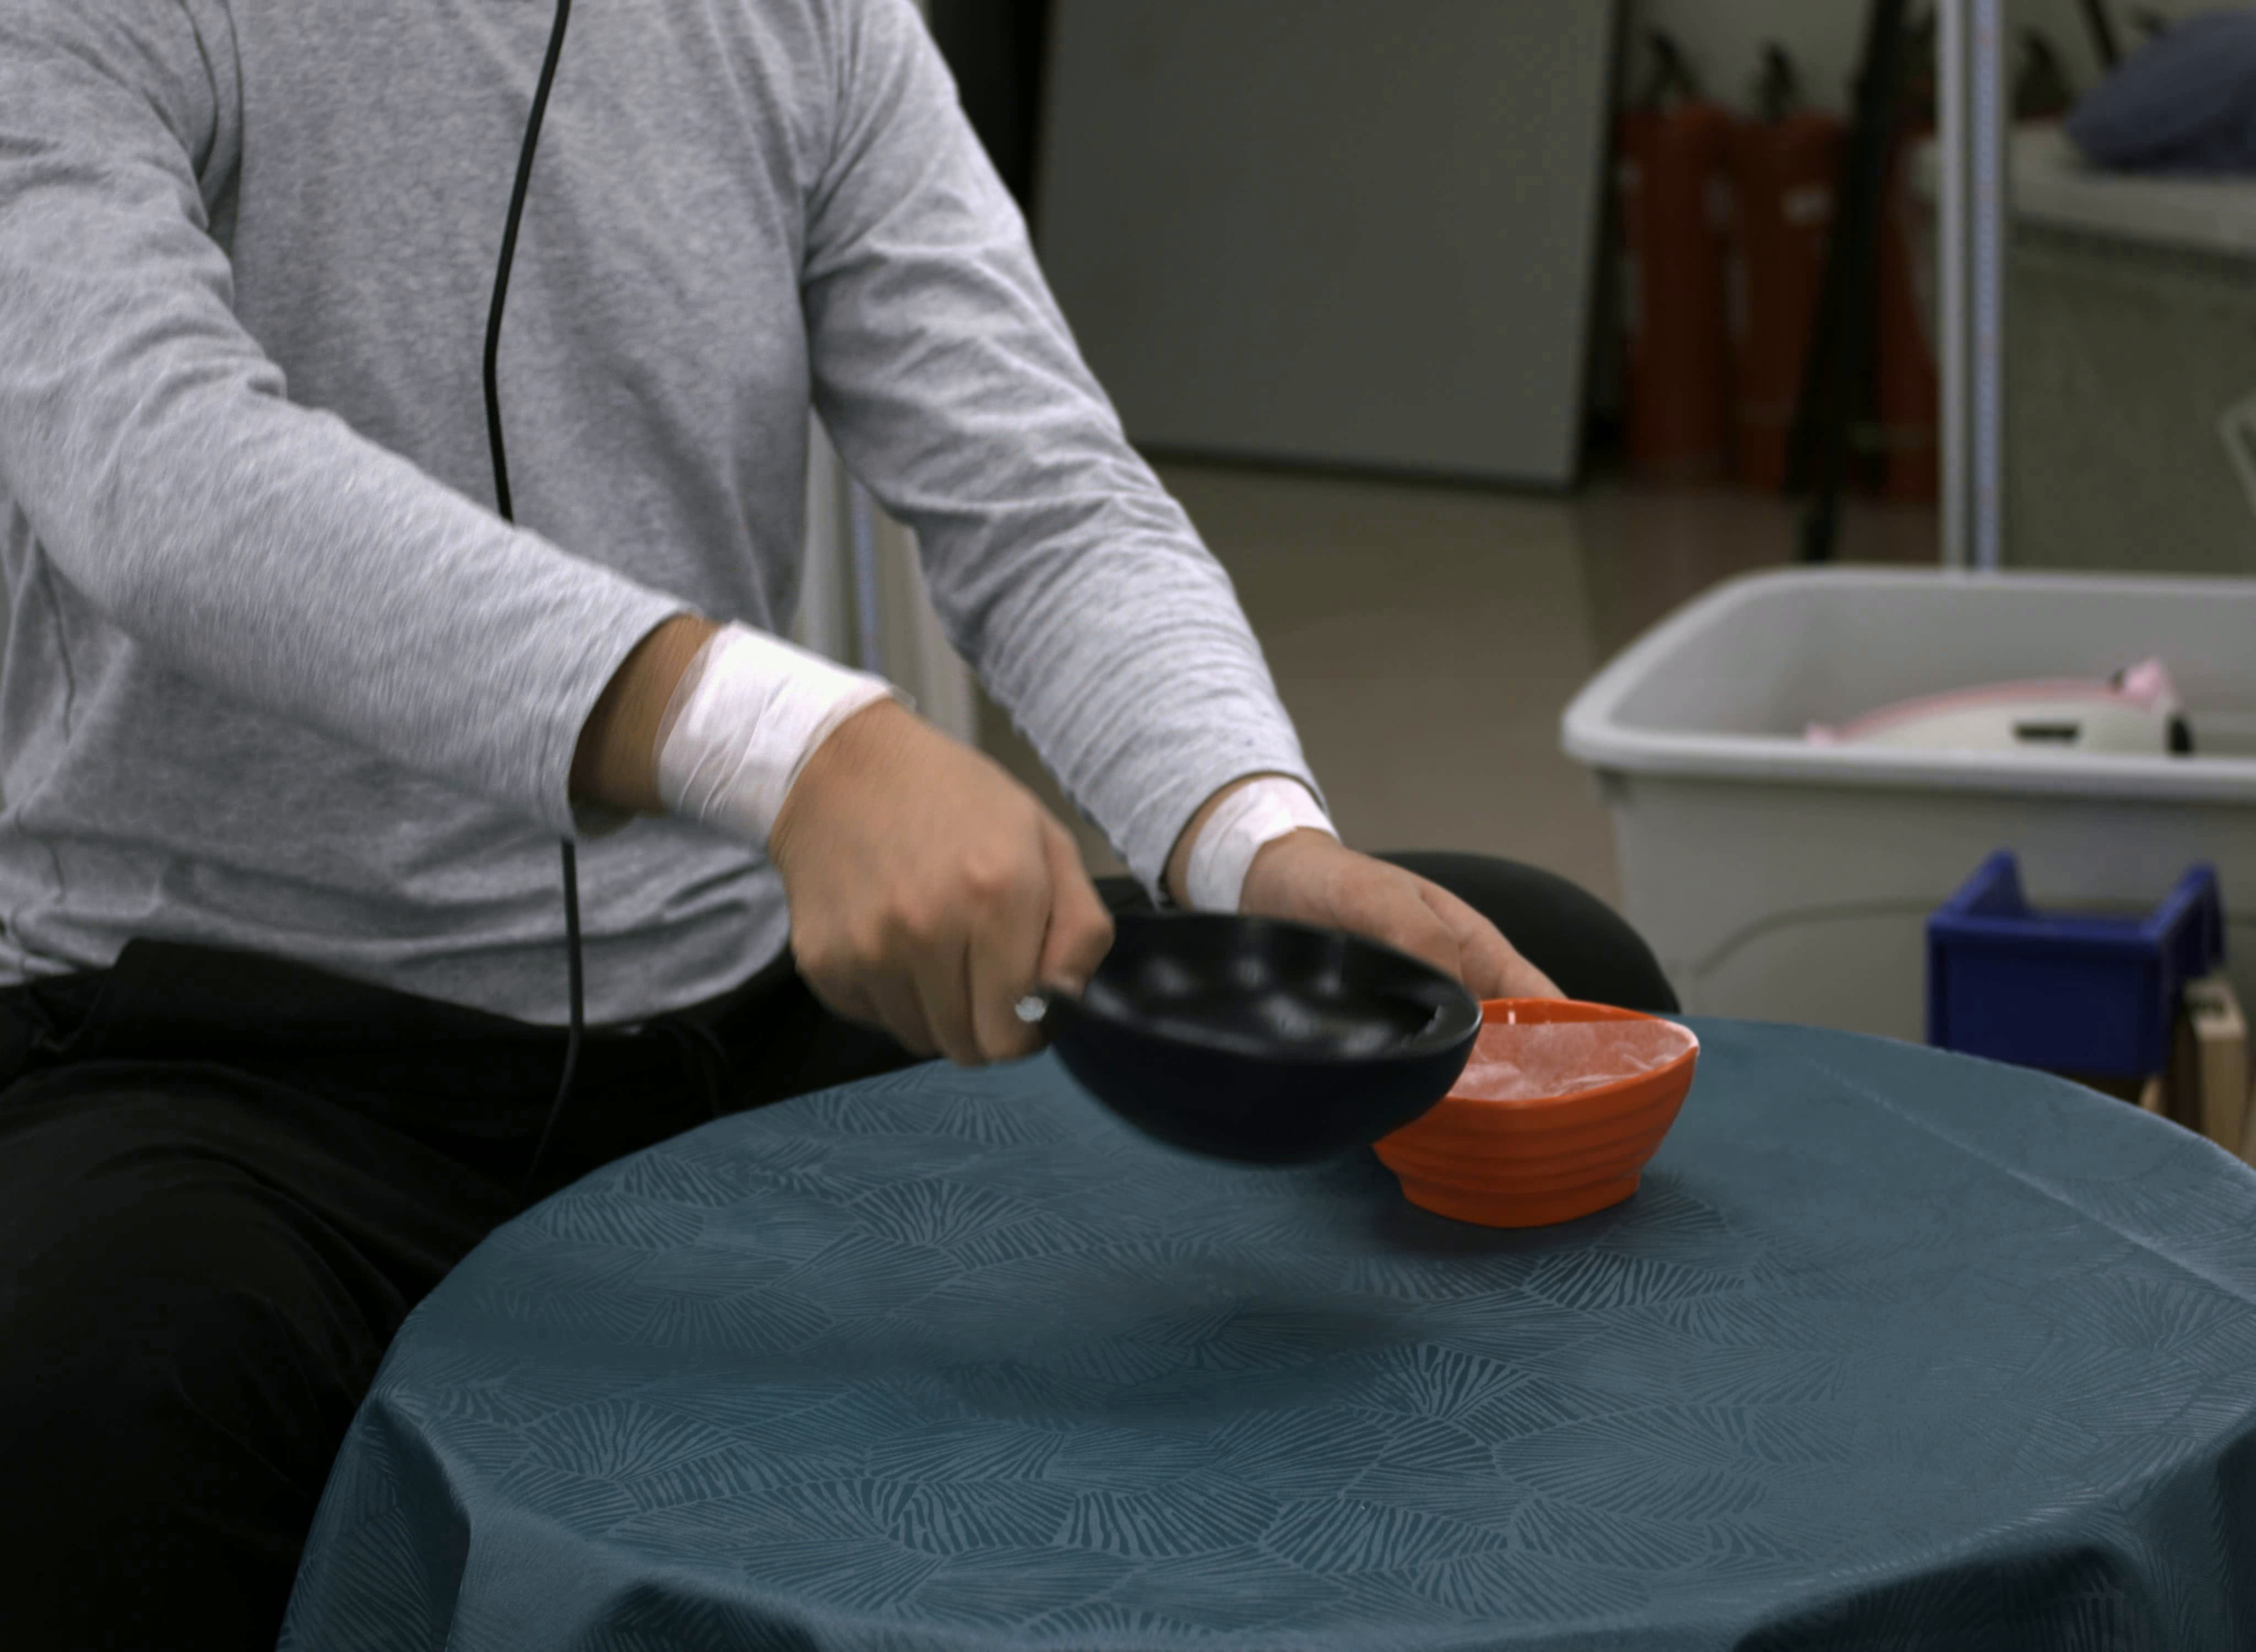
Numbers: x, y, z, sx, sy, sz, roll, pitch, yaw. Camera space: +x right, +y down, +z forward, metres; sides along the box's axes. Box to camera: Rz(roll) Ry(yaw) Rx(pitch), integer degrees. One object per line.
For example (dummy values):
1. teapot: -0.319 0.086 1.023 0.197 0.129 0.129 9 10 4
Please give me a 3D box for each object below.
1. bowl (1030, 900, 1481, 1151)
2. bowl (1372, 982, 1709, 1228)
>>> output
1. bowl: 0.036 0.064 1.624 0.138 0.050 0.140 7 12 -2
2. bowl: 0.129 0.092 1.737 0.117 0.052 0.119 -3 16 0
